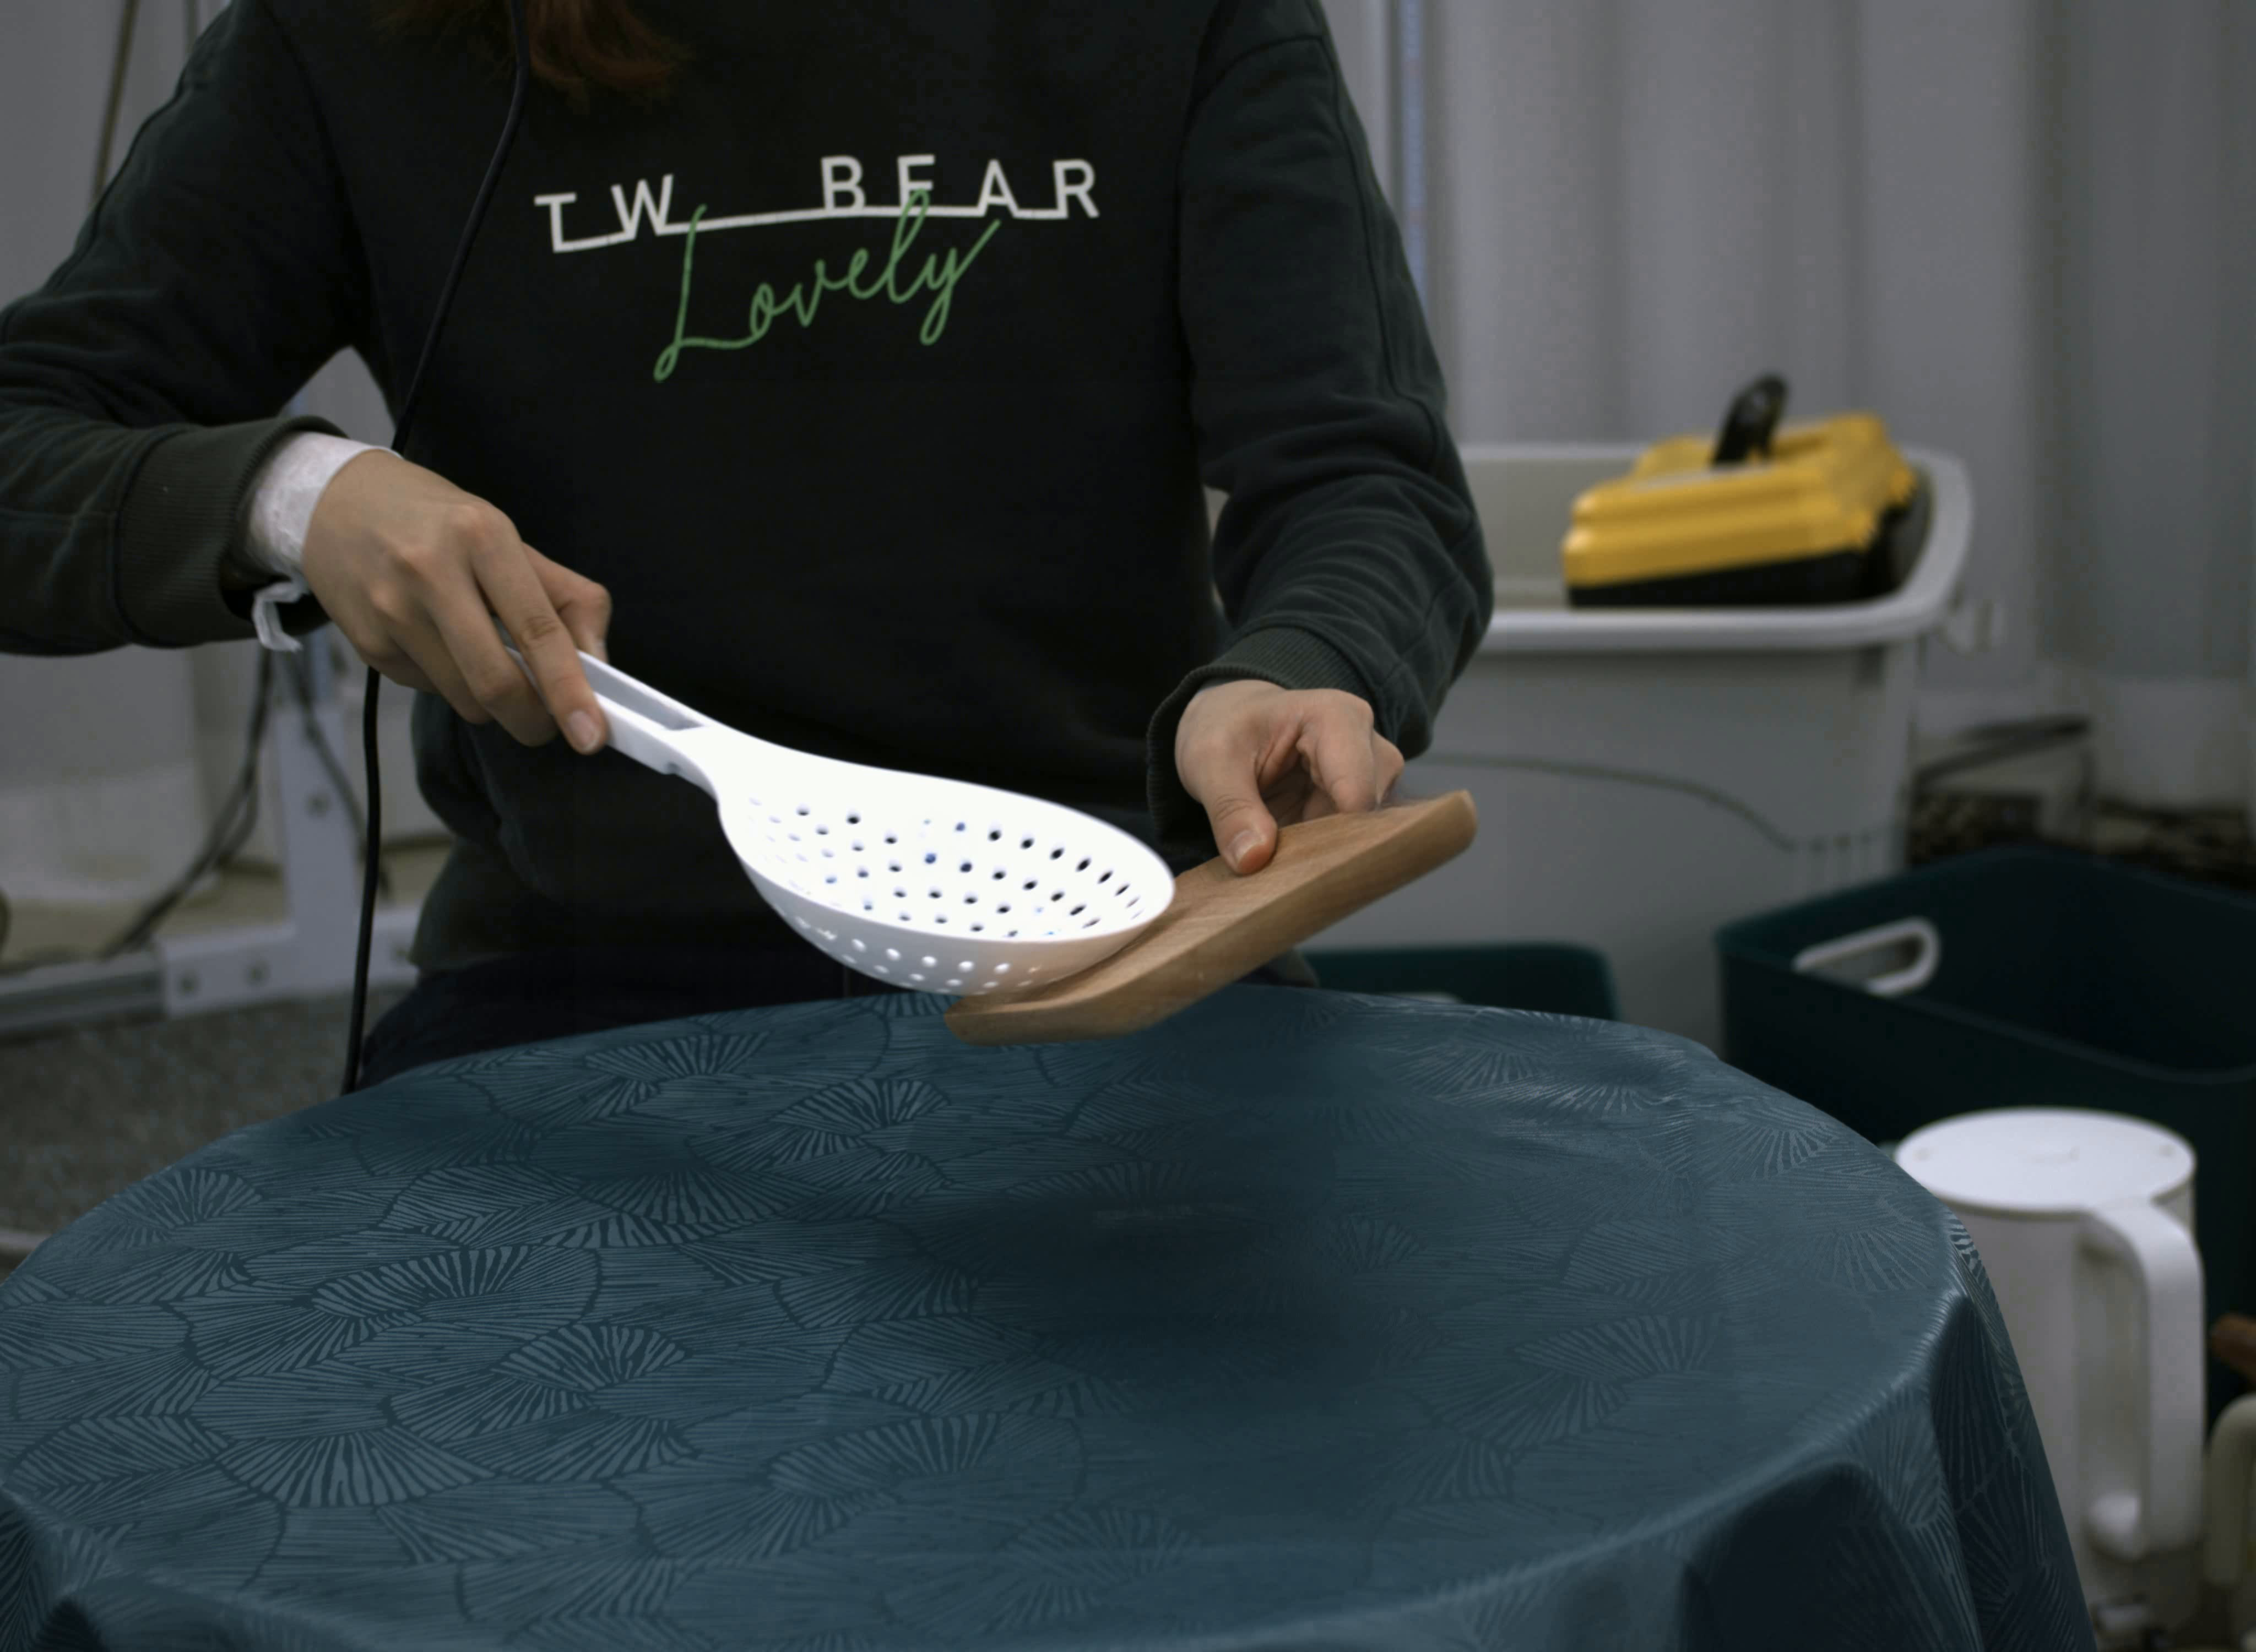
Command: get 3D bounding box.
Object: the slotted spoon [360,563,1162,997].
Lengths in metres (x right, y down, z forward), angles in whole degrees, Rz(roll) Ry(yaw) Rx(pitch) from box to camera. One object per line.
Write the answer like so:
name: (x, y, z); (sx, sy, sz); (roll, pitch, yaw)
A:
slotted spoon: (-0.132, -0.021, 1.735); (0.135, 0.045, 0.353); (-7, 30, -45)

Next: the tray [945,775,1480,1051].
tray: (0.022, 0.029, 1.598); (0.130, 0.023, 0.250); (-27, 2, -12)
